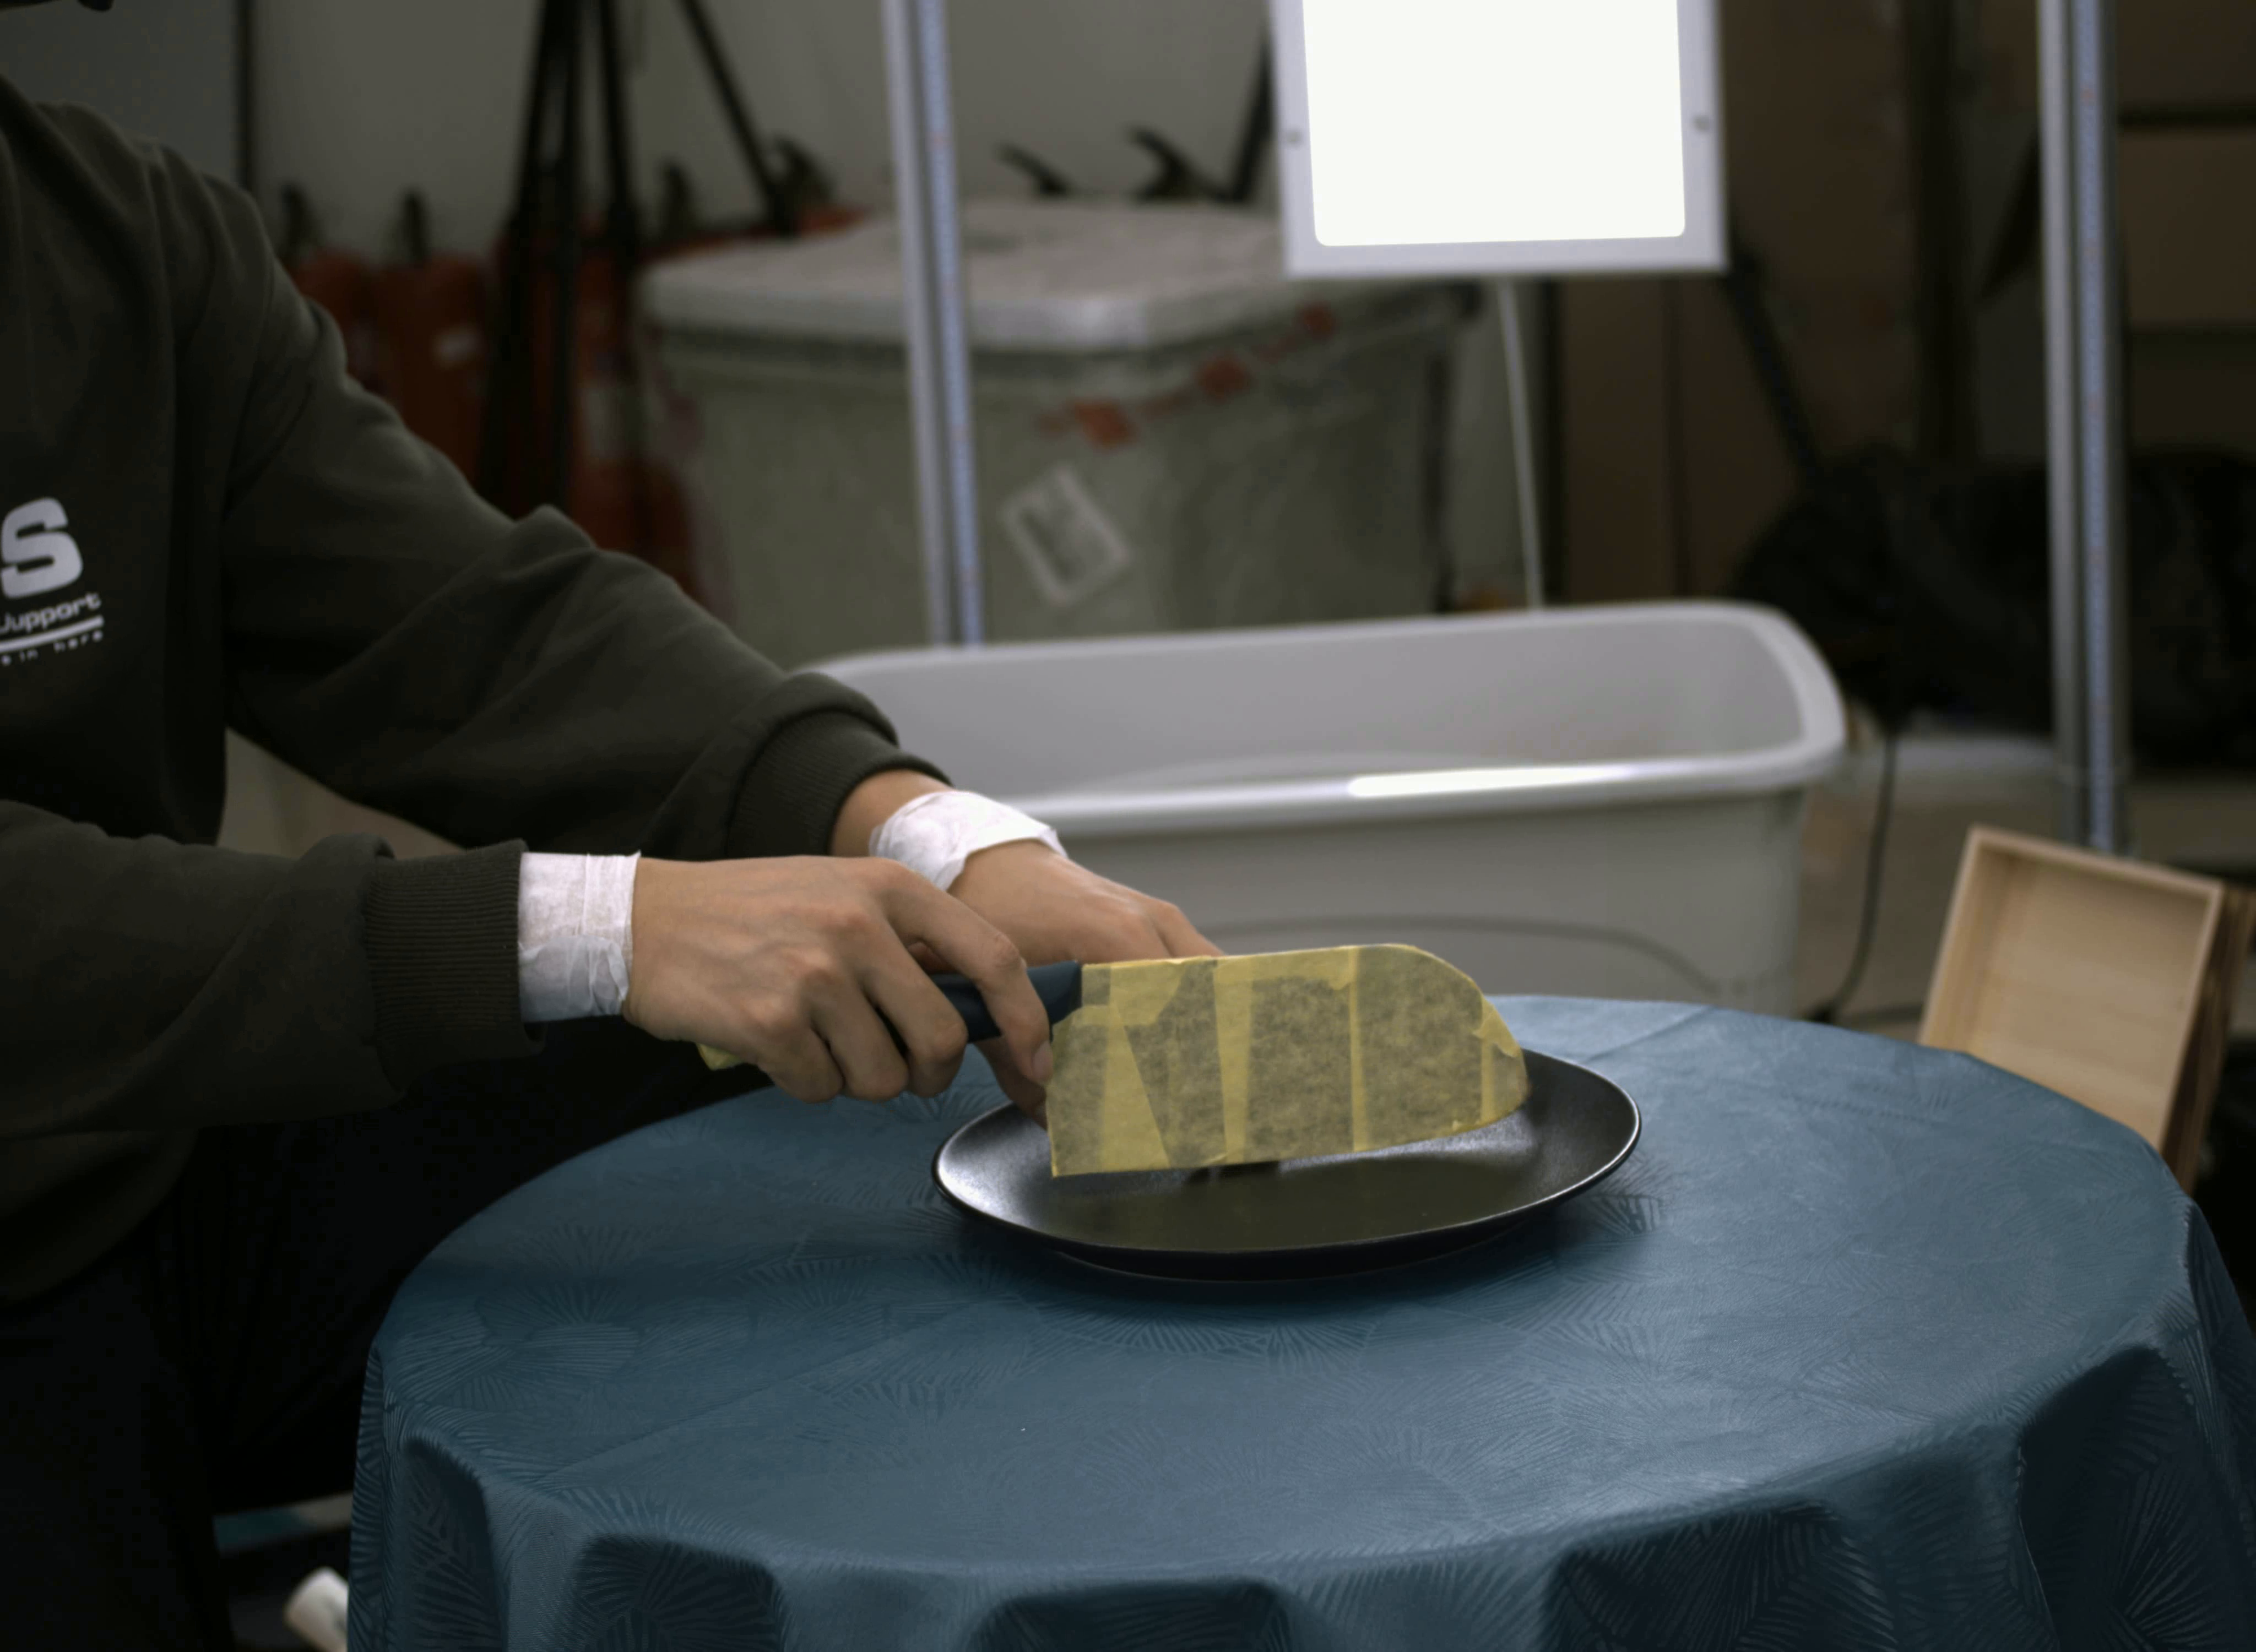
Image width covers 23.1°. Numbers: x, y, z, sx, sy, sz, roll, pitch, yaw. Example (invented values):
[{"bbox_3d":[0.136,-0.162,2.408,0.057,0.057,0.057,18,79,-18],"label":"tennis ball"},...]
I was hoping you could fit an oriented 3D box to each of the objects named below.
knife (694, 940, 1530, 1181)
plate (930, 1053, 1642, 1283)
[{"bbox_3d":[-0.004,0.081,1.879,0.287,0.081,0.027,-1,6,-4],"label":"knife"},{"bbox_3d":[0.055,0.116,1.876,0.244,0.023,0.244,-5,13,0],"label":"plate"}]
